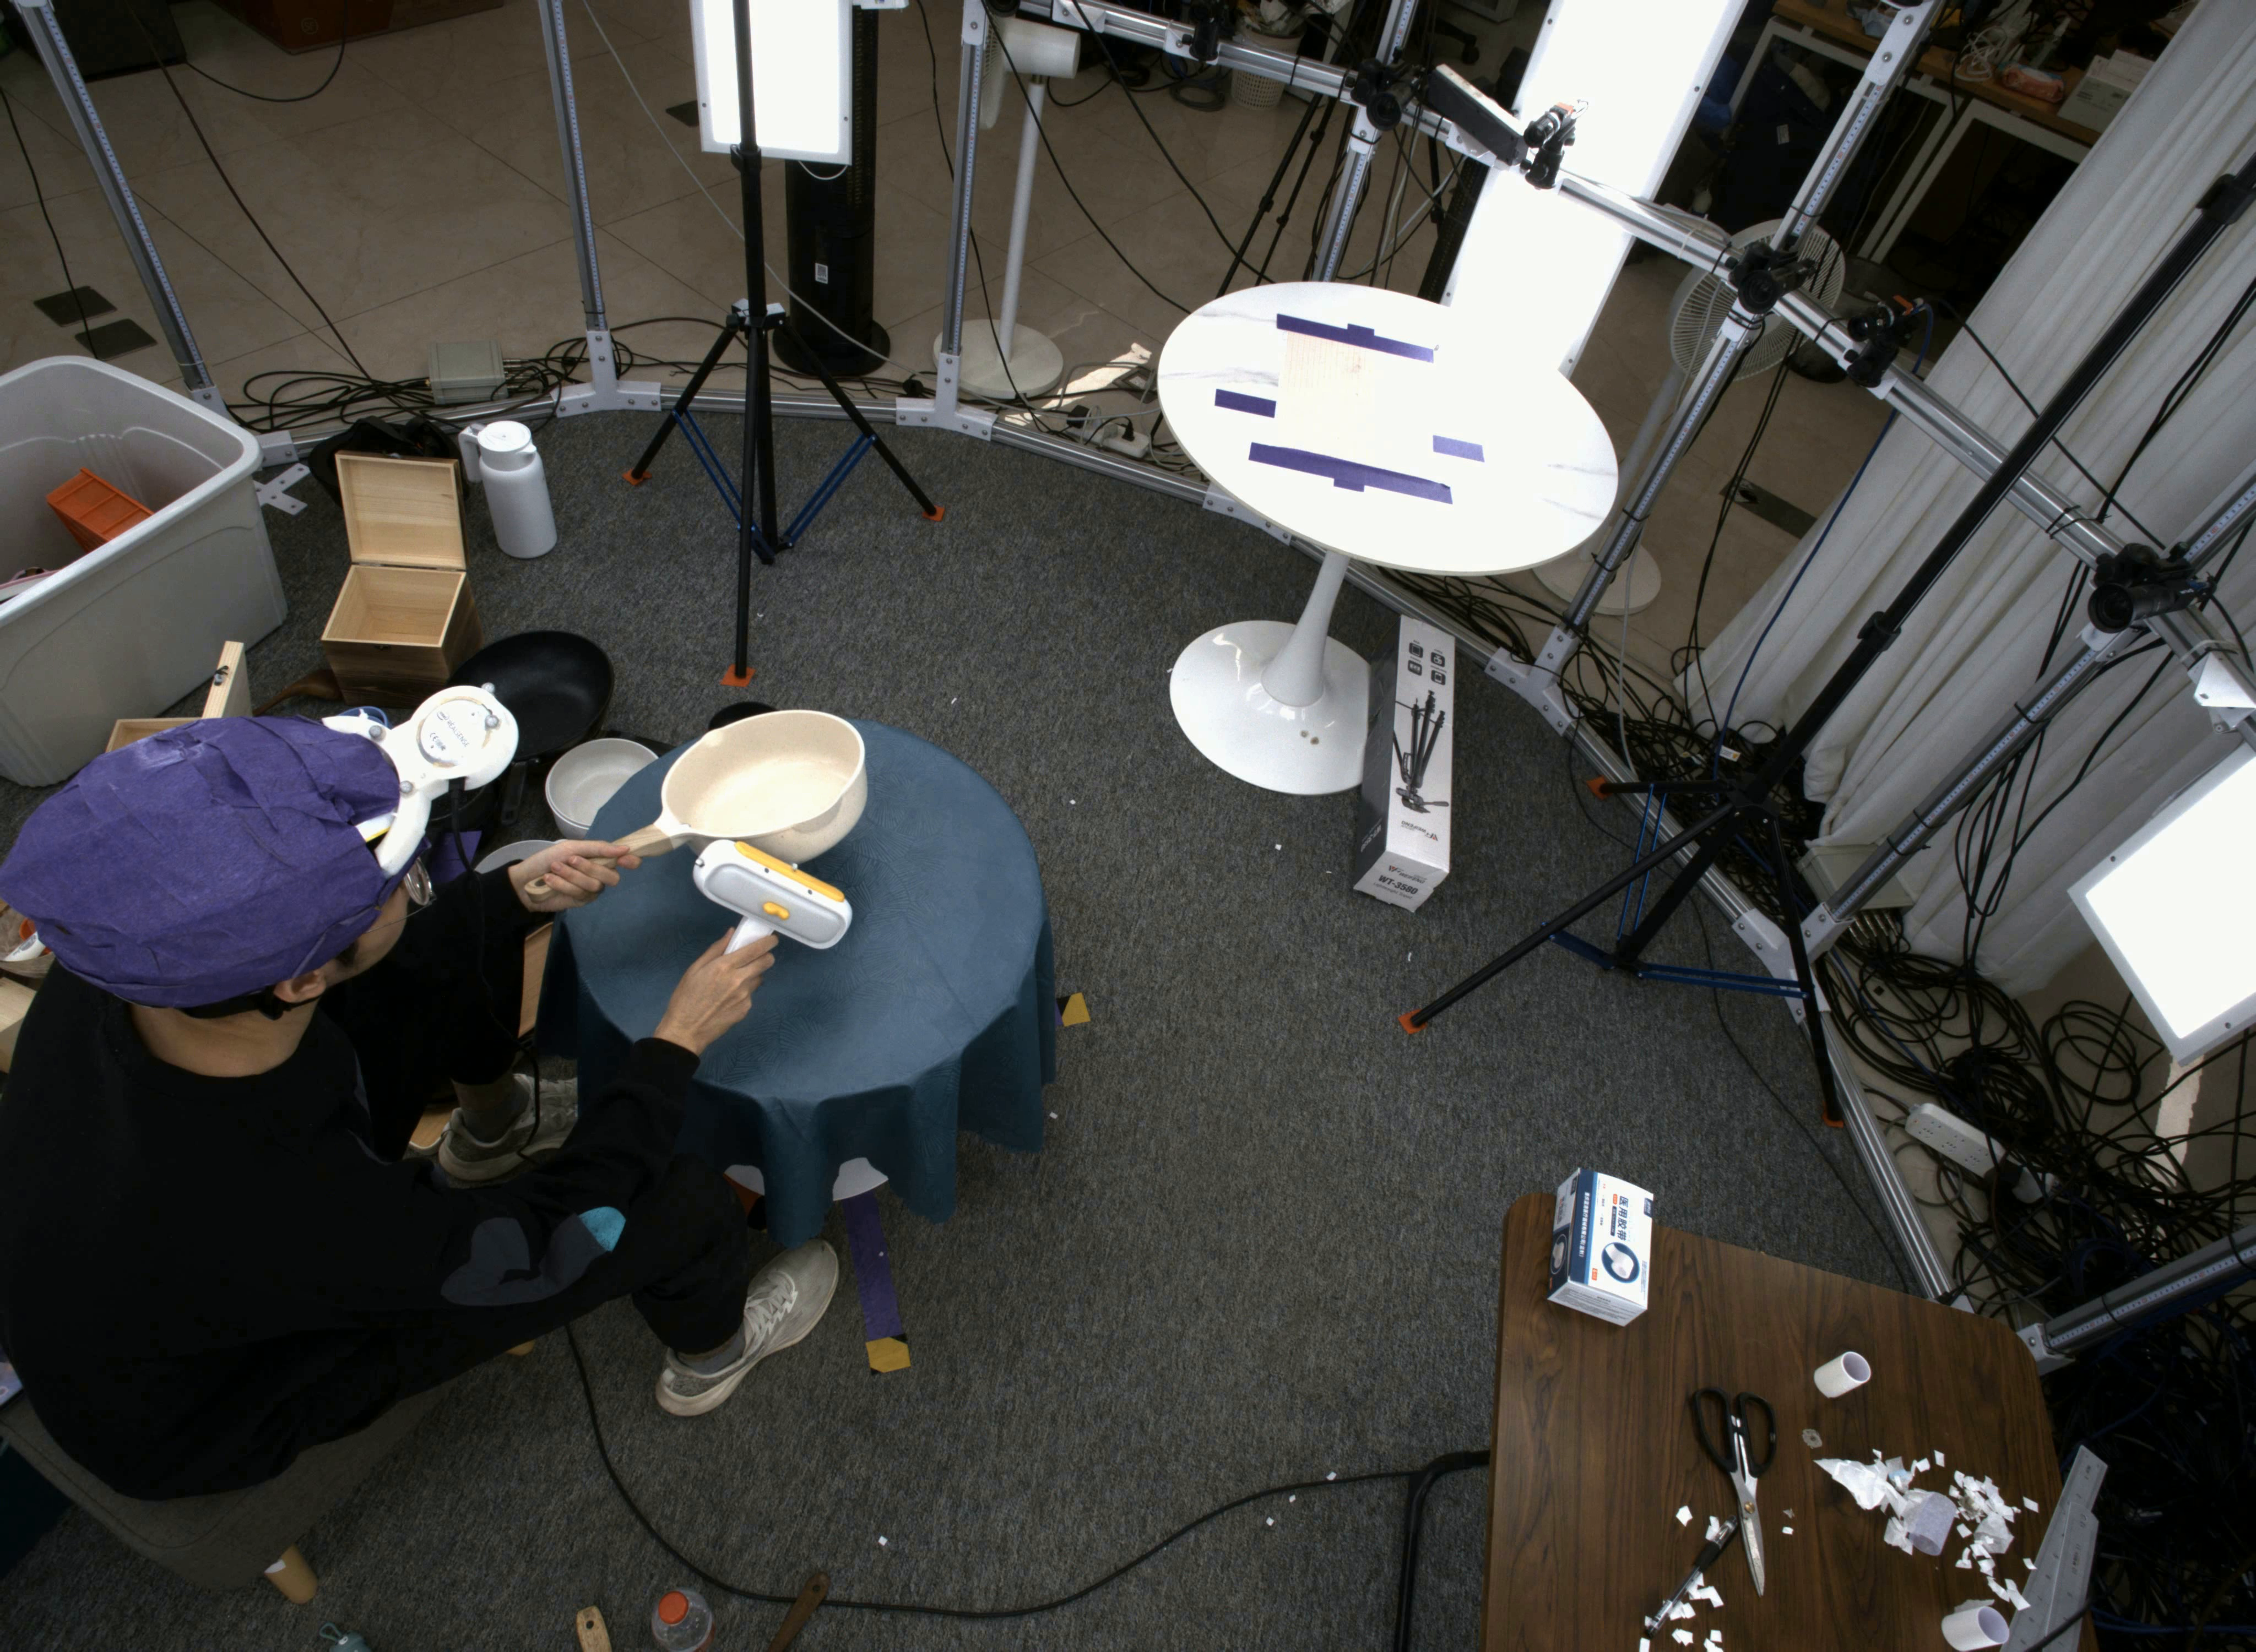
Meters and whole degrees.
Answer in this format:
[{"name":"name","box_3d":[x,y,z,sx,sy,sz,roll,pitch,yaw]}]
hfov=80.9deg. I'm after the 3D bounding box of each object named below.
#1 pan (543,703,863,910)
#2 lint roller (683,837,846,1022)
[{"name":"pan","box_3d":[-0.511,-0.002,1.554,0.254,0.105,0.435,31,53,32]},{"name":"lint roller","box_3d":[-0.439,0.128,1.483,0.199,0.194,0.071,26,9,-38]}]
